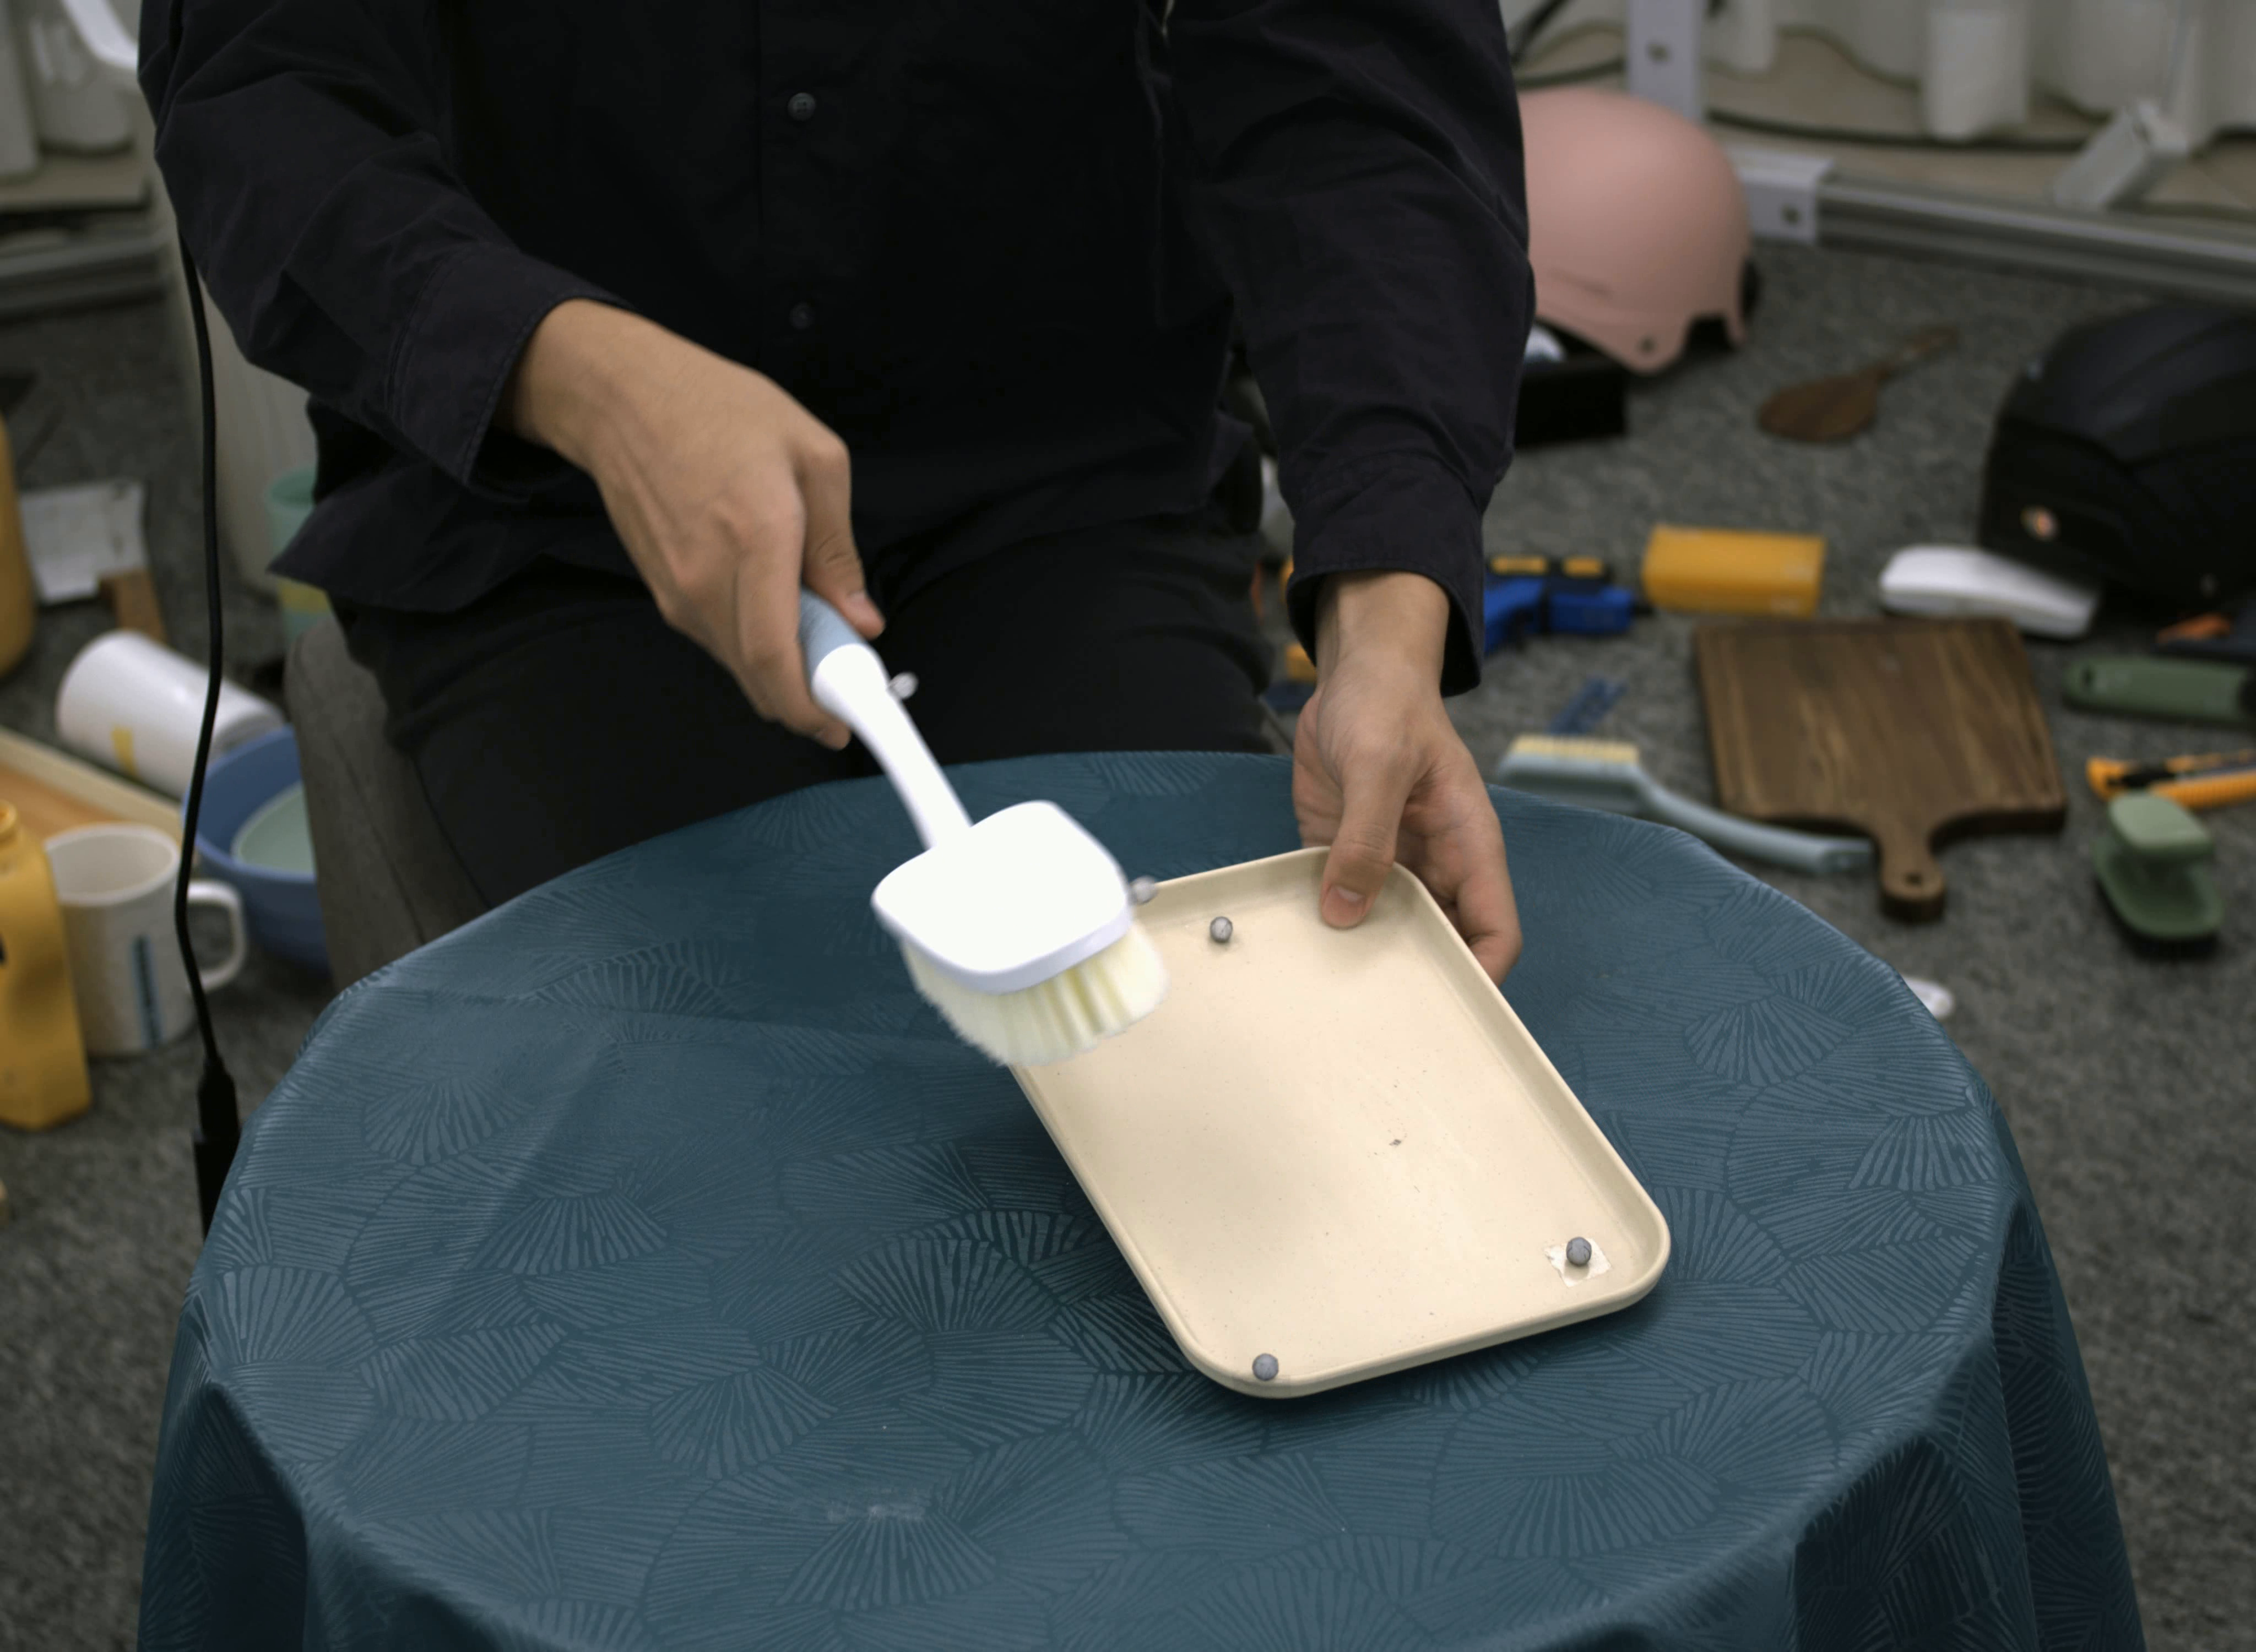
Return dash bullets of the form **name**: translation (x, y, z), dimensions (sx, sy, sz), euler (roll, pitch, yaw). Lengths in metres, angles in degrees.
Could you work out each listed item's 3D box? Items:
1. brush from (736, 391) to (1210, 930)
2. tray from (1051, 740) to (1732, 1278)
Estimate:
- **brush**: translation (-0.052, -0.049, 1.880), dimensions (0.083, 0.084, 0.328), euler (6, 23, -29)
- **tray**: translation (0.079, 0.058, 1.854), dimensions (0.172, 0.017, 0.242), euler (-11, 41, -20)
